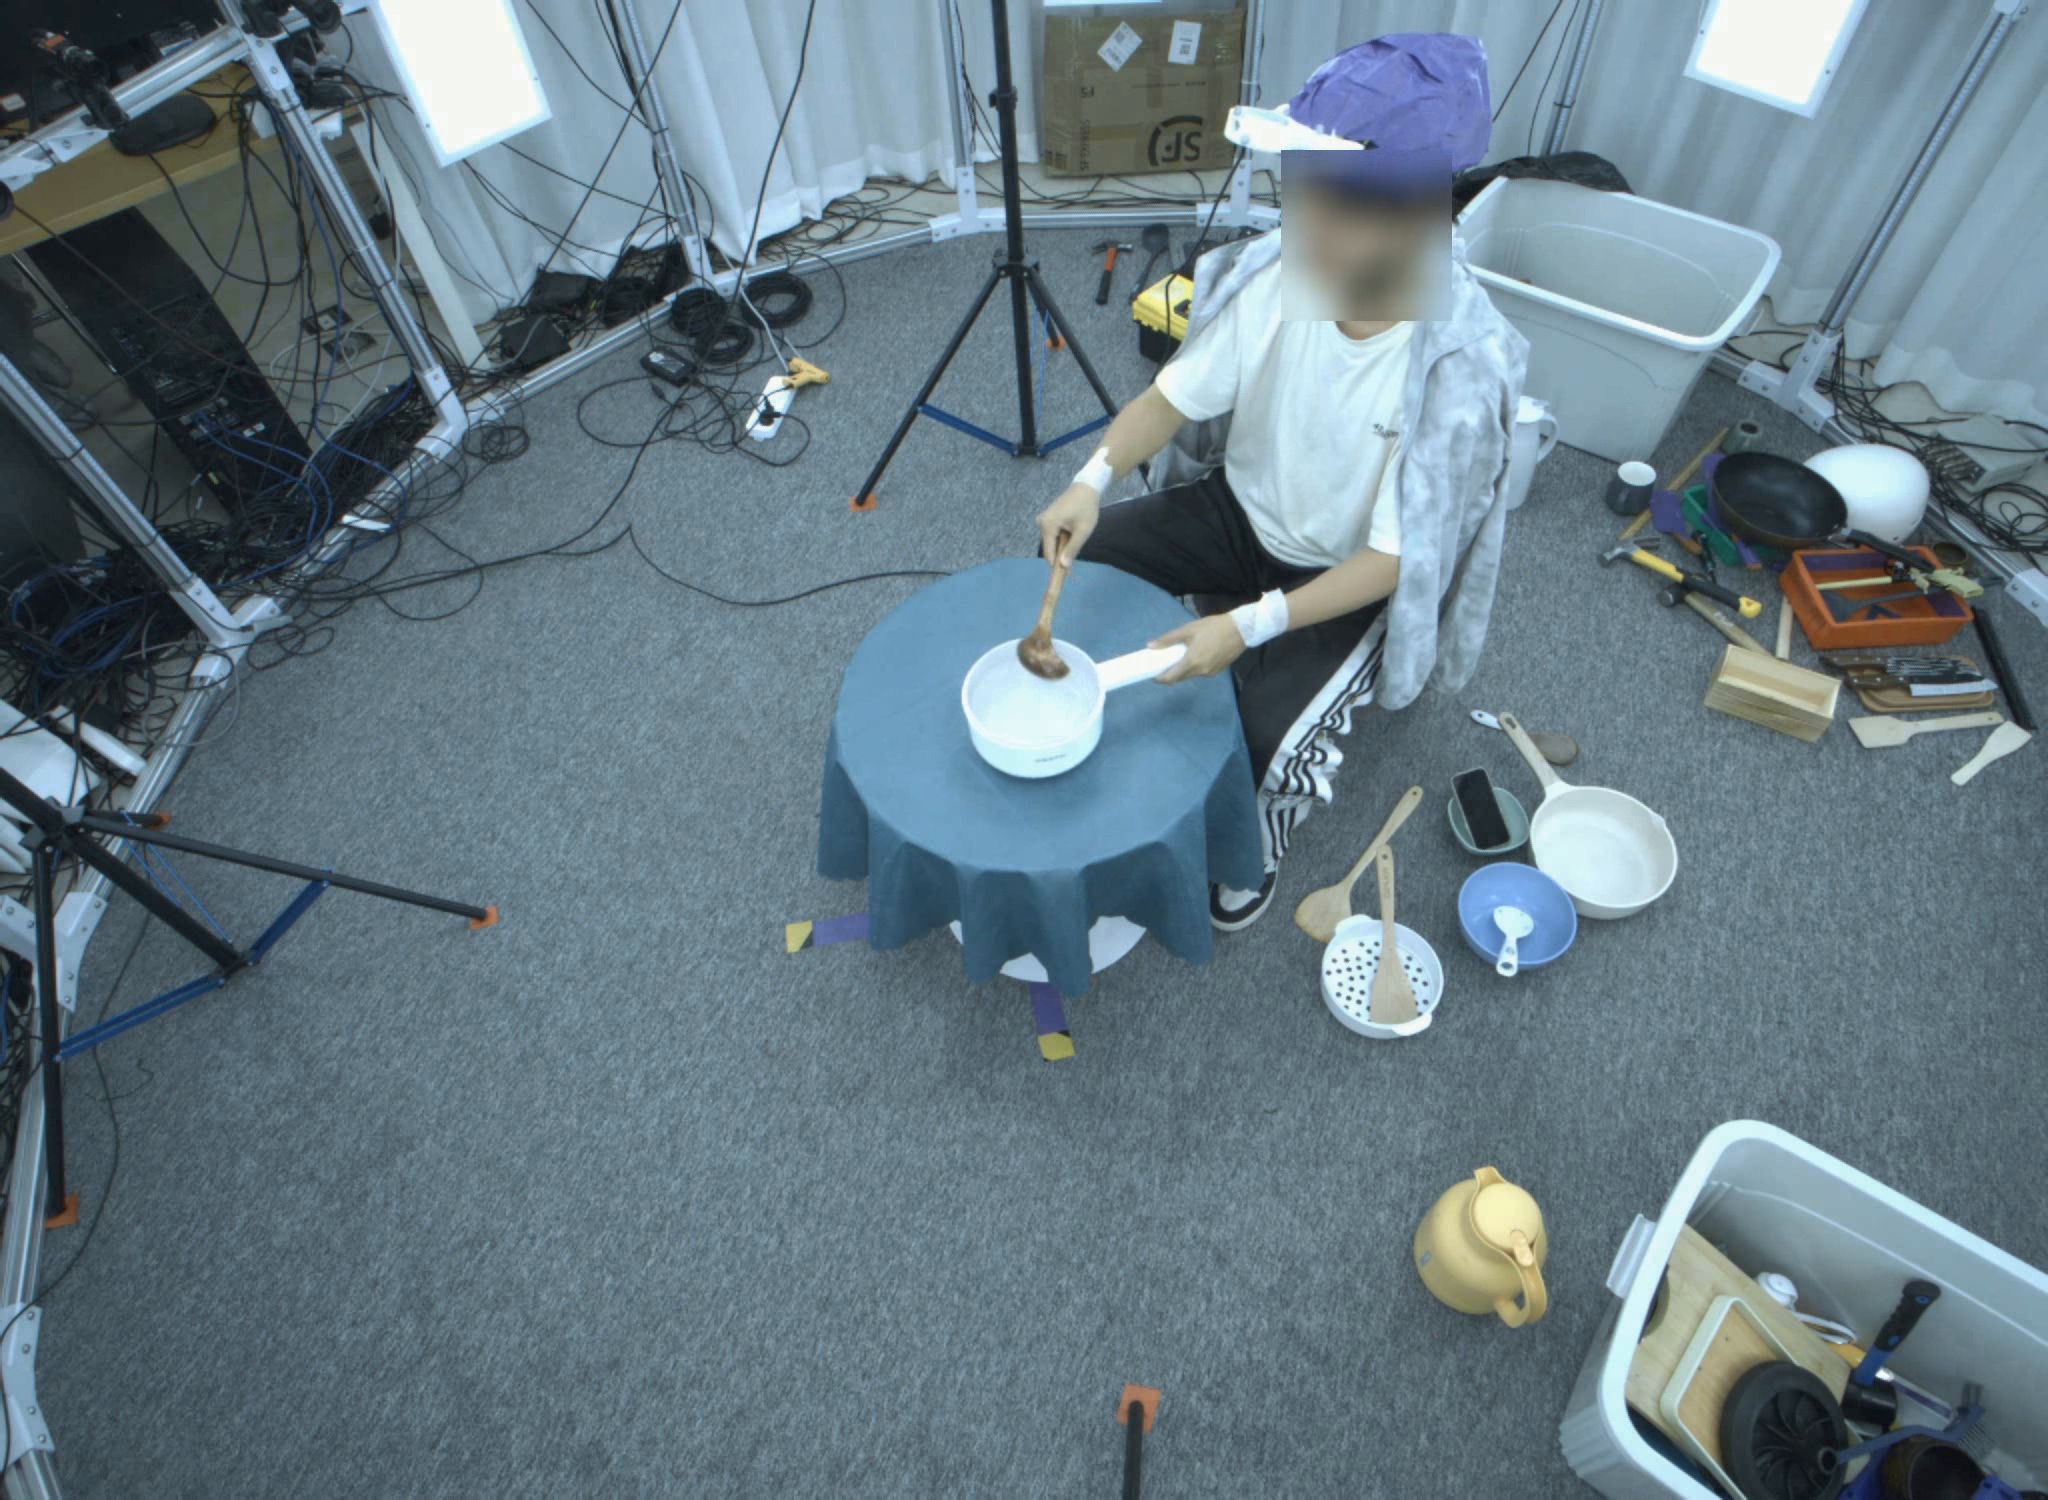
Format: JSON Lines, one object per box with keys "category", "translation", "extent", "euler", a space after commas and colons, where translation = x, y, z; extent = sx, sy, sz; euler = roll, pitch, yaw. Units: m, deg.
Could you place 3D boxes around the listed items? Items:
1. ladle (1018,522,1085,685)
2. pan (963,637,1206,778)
{"category": "ladle", "translation": [0.055, -0.214, 1.718], "extent": [0.075, 0.084, 0.273], "euler": [-8, 57, 51]}
{"category": "pan", "translation": [0.089, -0.077, 1.780], "extent": [0.357, 0.103, 0.198], "euler": [-17, 55, -10]}
